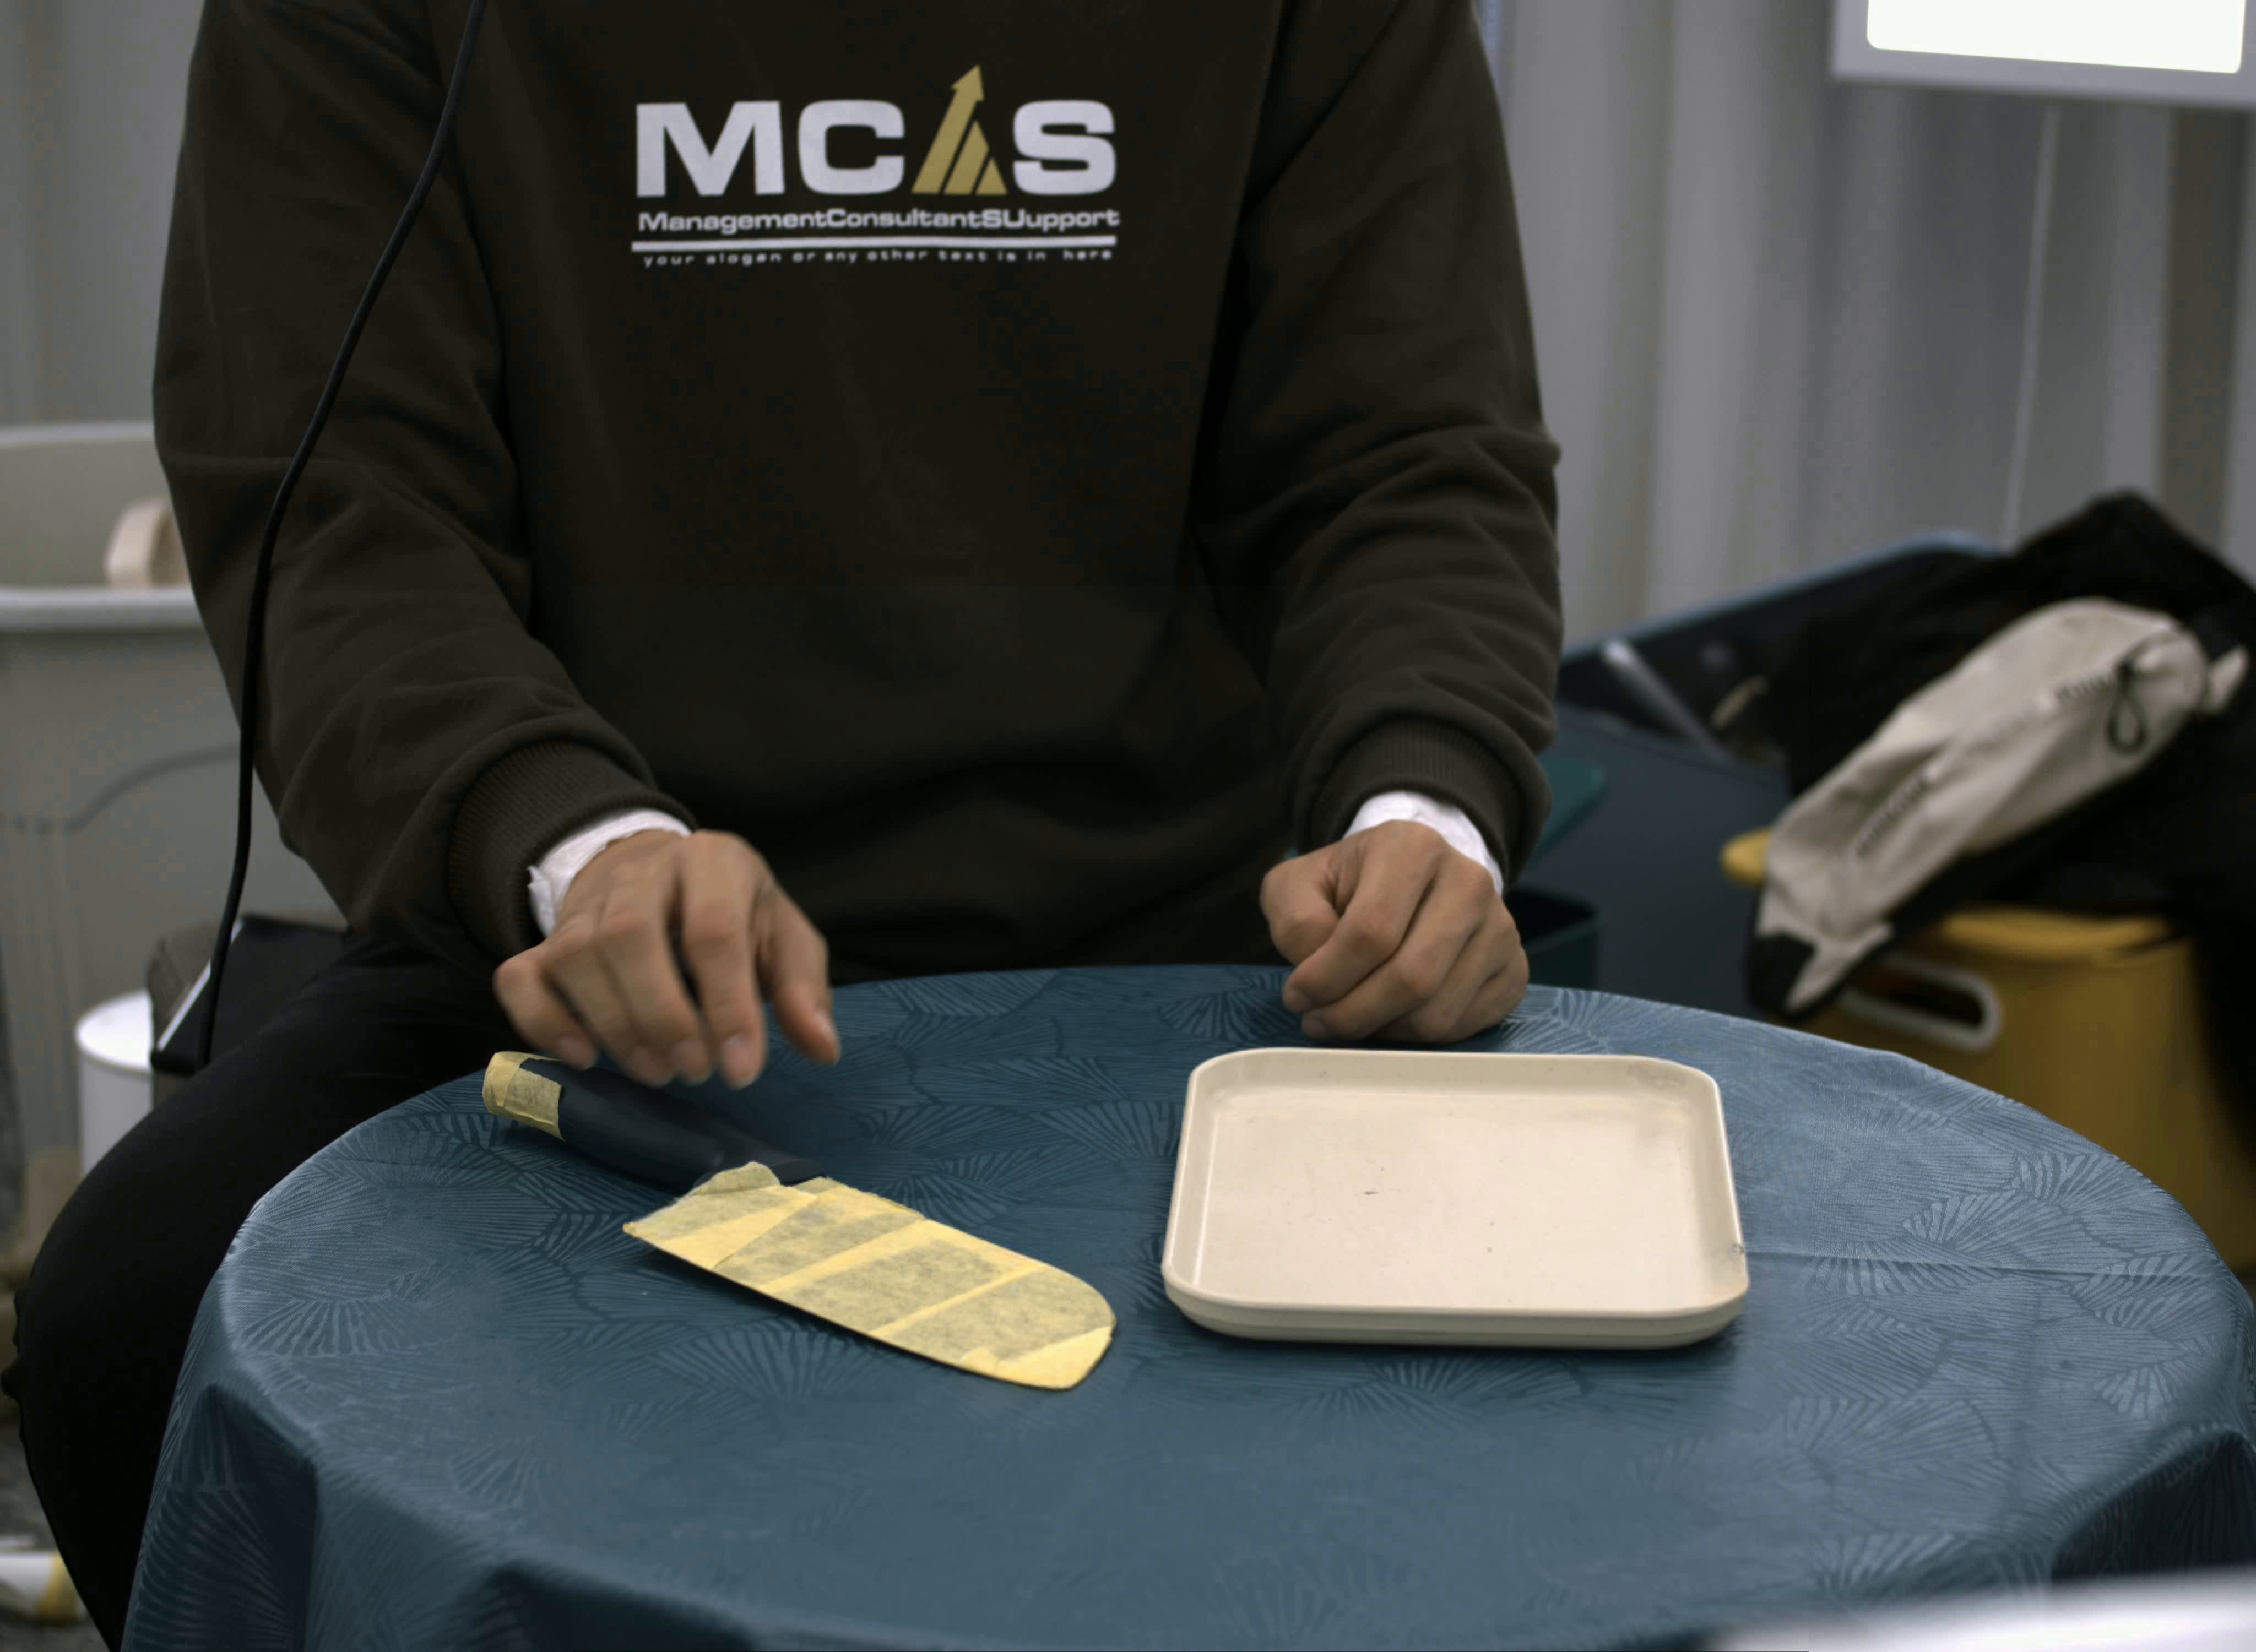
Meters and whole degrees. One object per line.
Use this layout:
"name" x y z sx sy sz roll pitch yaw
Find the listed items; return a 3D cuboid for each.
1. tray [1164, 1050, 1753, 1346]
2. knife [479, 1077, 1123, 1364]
"tray" 0.099 0.112 1.598 0.170 0.017 0.238 1 15 3
"knife" -0.108 0.119 1.570 0.081 0.027 0.285 -13 21 -43
